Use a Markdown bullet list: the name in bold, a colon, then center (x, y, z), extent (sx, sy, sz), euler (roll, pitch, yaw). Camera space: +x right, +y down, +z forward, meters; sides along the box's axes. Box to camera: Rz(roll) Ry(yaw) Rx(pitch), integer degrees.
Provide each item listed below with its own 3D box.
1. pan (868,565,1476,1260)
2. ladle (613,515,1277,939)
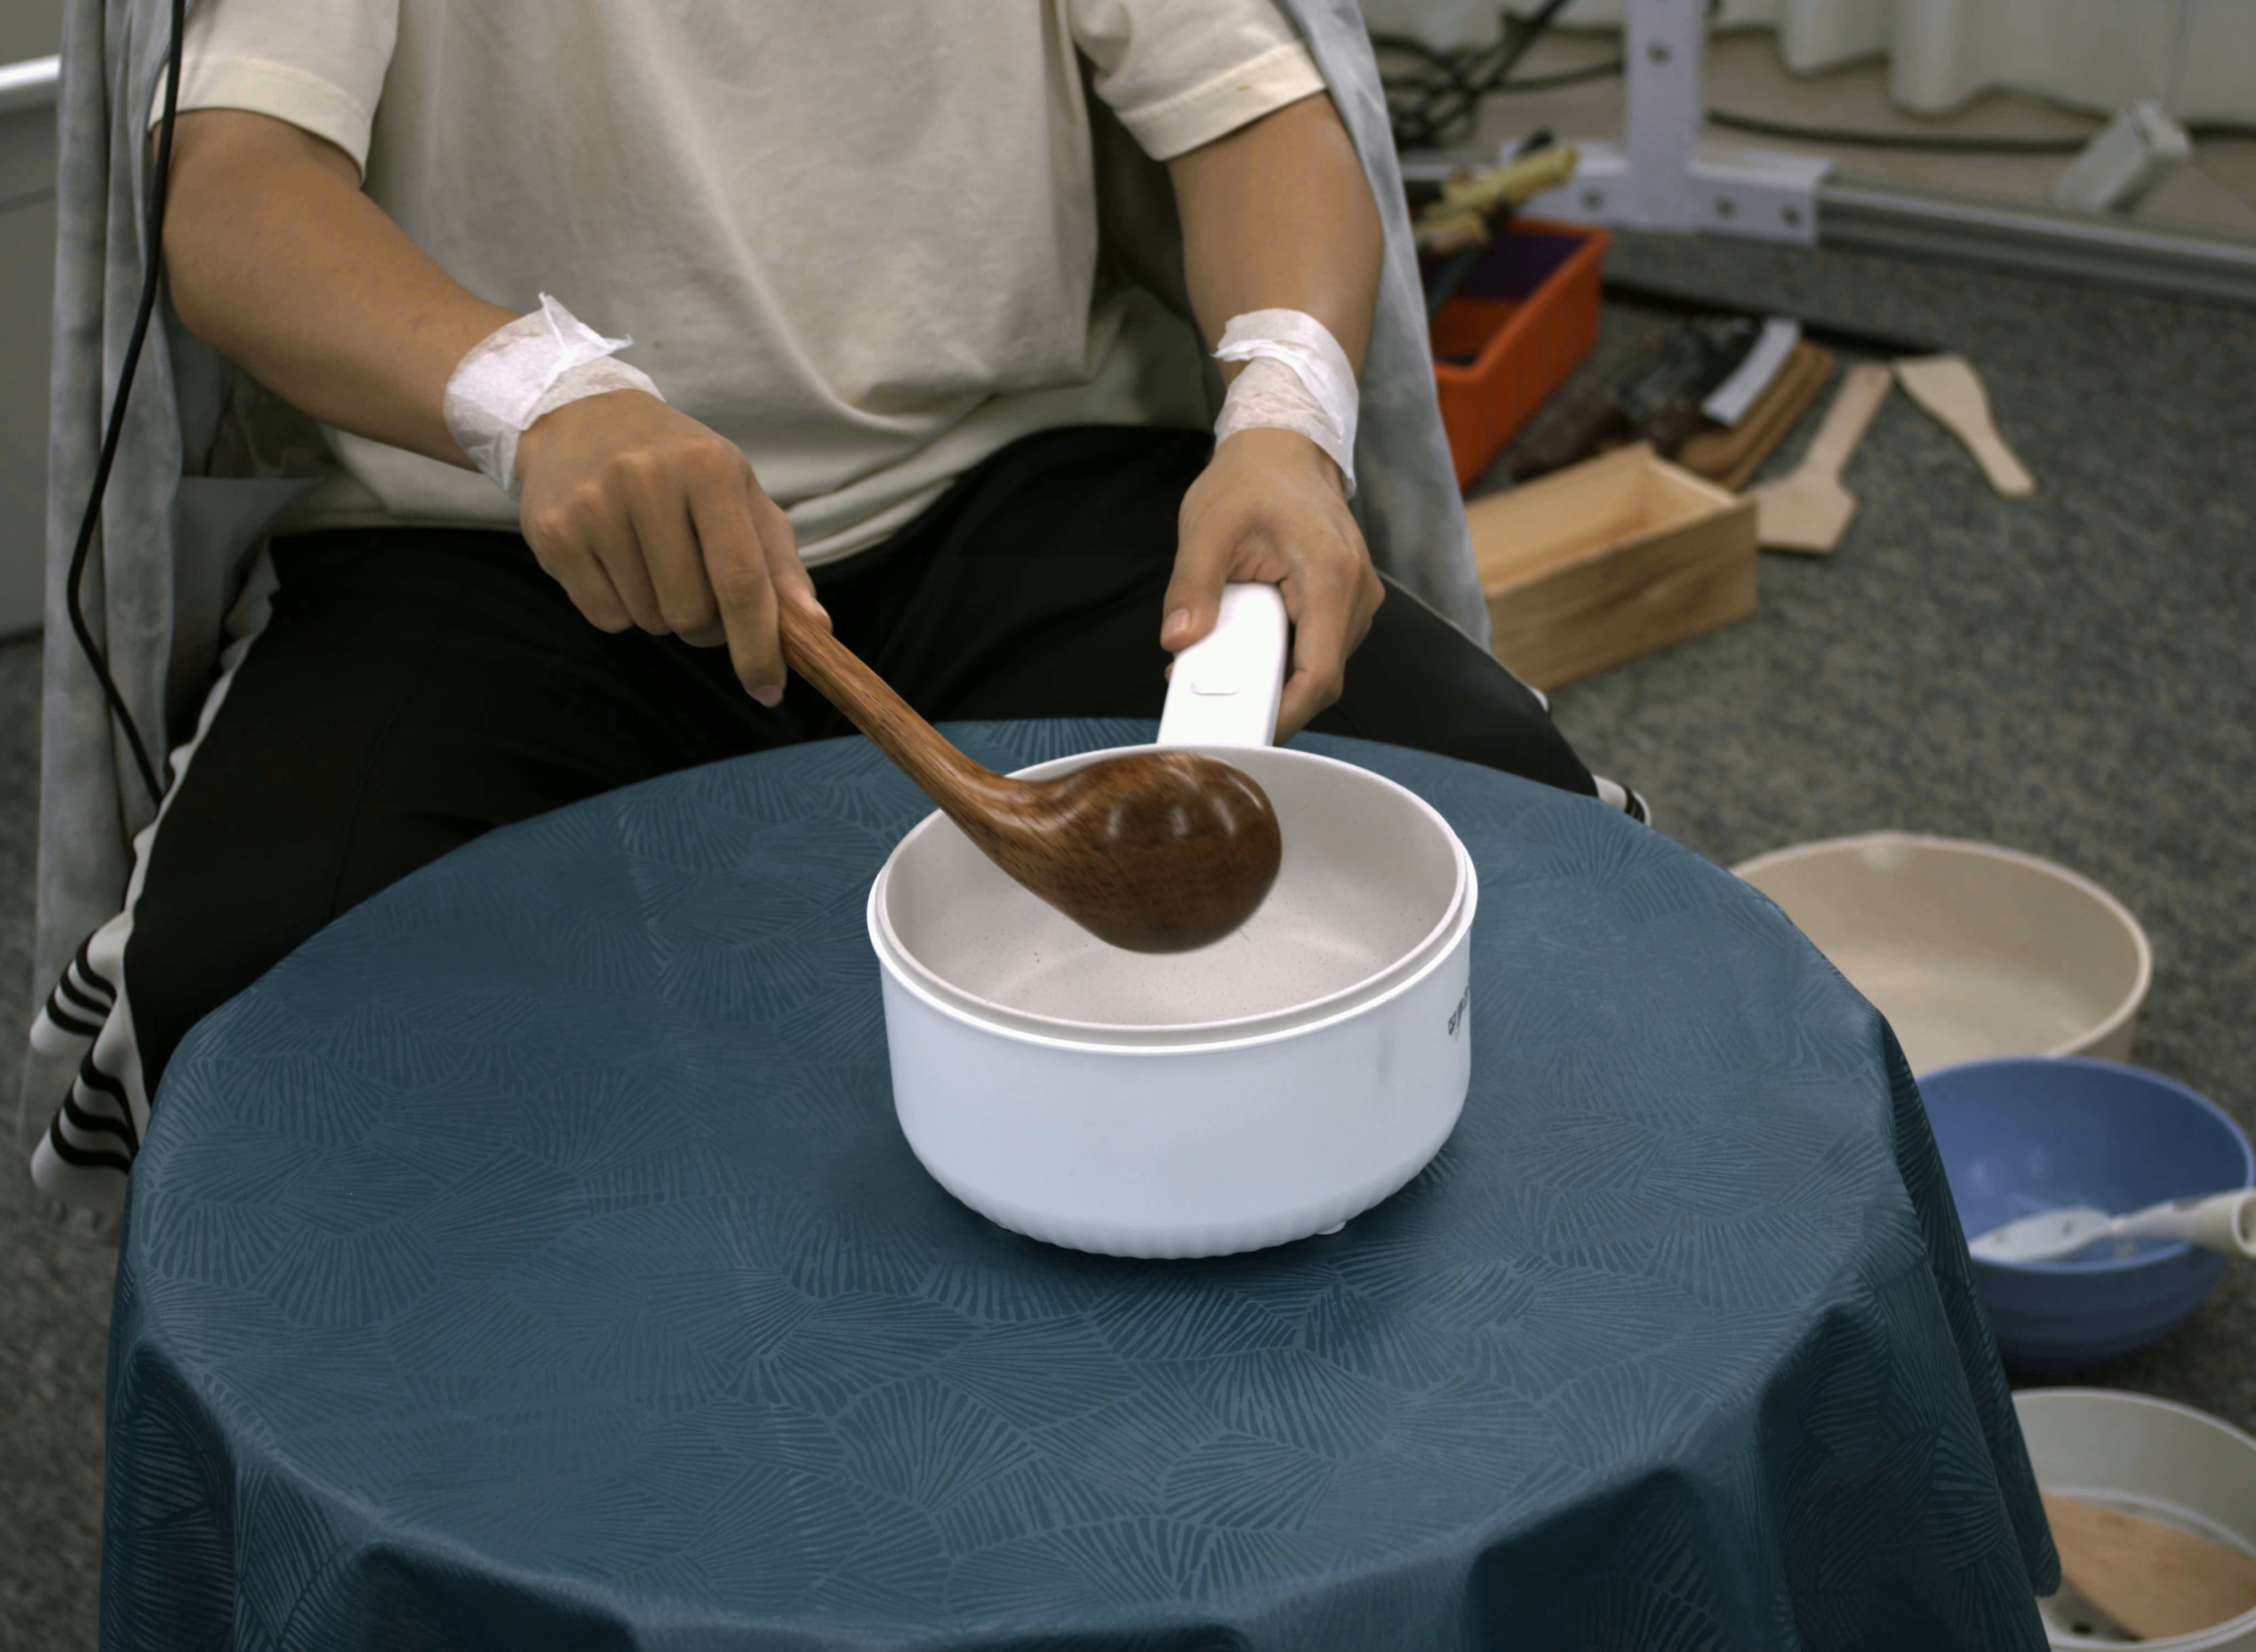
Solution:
- **pan**: center (0.026, 0.027, 1.935), extent (0.200, 0.101, 0.360), euler (0, 27, 8)
- **ladle**: center (-0.061, -0.048, 1.878), extent (0.077, 0.081, 0.275), euler (-20, 42, -36)
